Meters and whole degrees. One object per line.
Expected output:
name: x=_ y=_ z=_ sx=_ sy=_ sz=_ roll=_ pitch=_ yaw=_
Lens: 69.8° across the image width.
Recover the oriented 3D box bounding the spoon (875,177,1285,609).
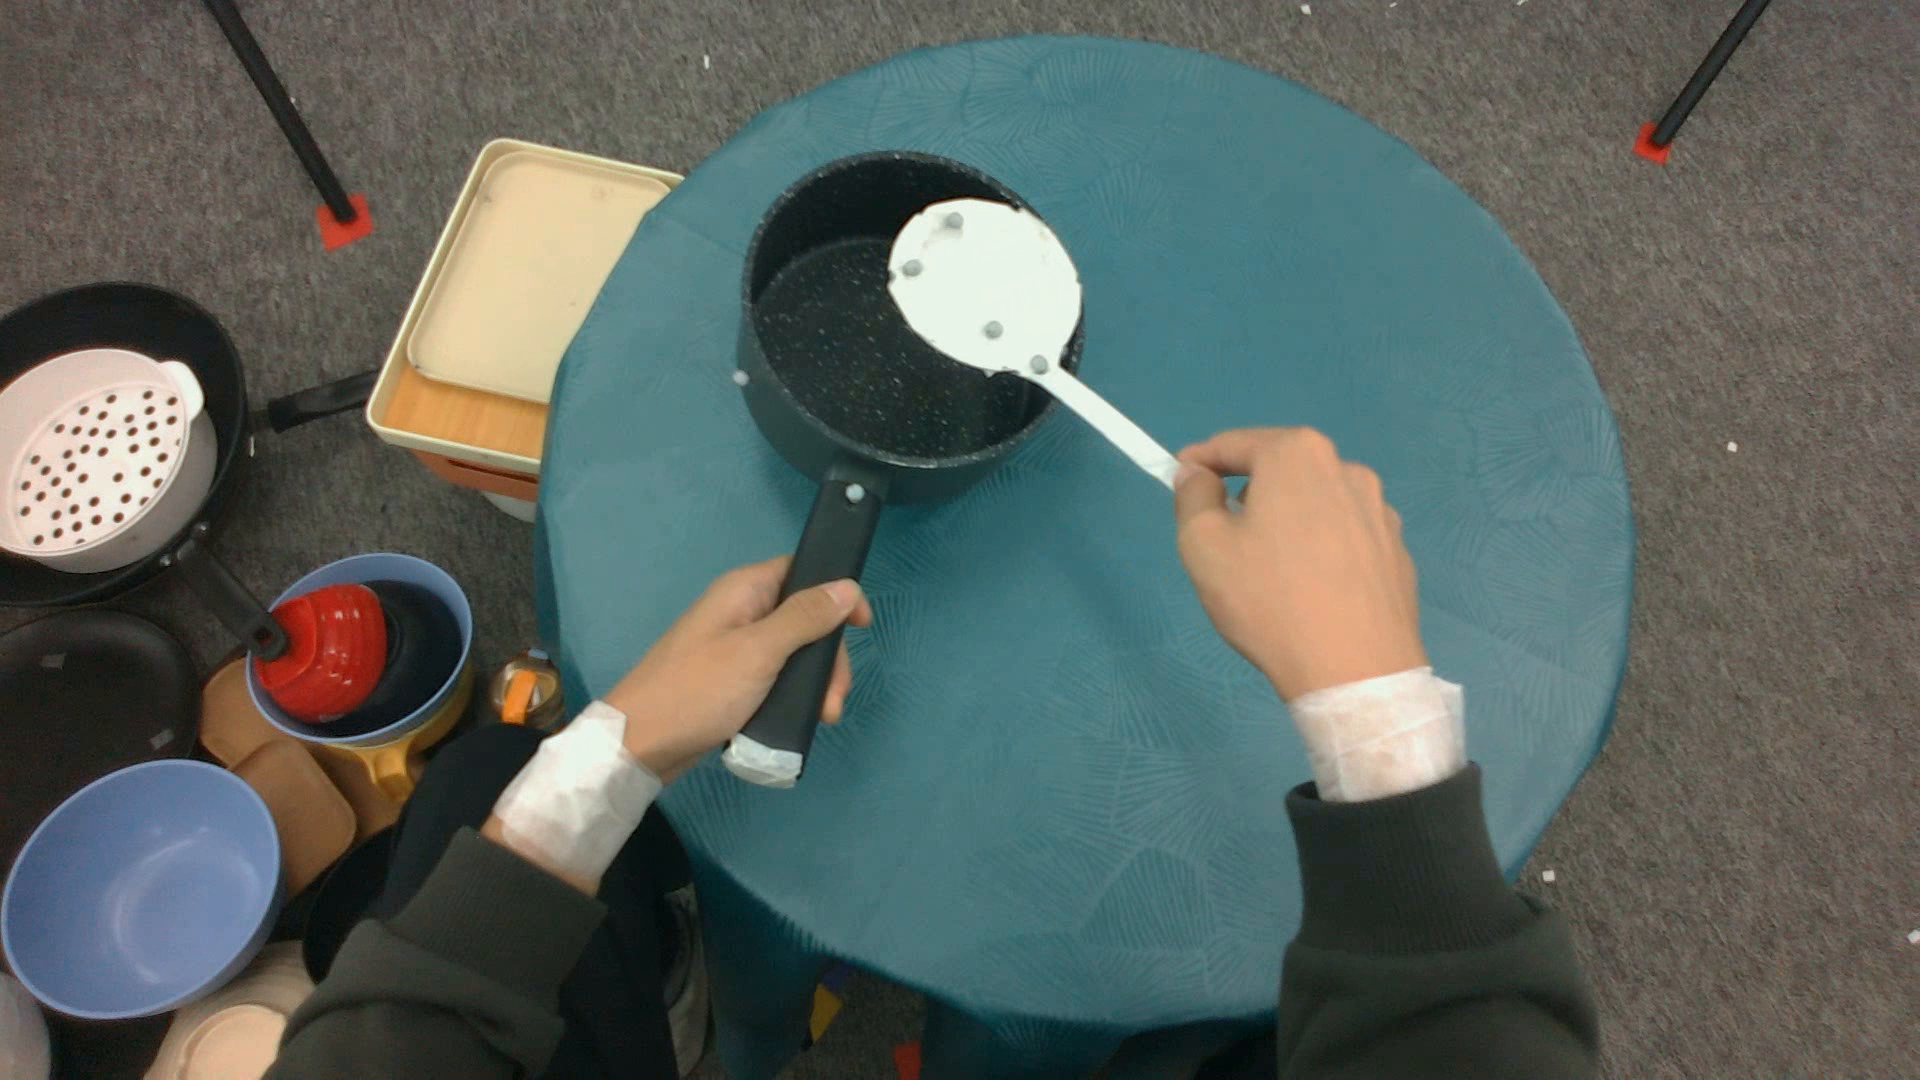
spoon: x=0.048 y=-0.072 z=0.580 sx=0.101 sy=0.059 sz=0.278 roll=-21 pitch=43 yaw=-17

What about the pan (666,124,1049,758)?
pan: x=-0.068 y=-0.046 z=0.666 sx=0.172 sy=0.086 sz=0.330 roll=21 pitch=66 yaw=-7
